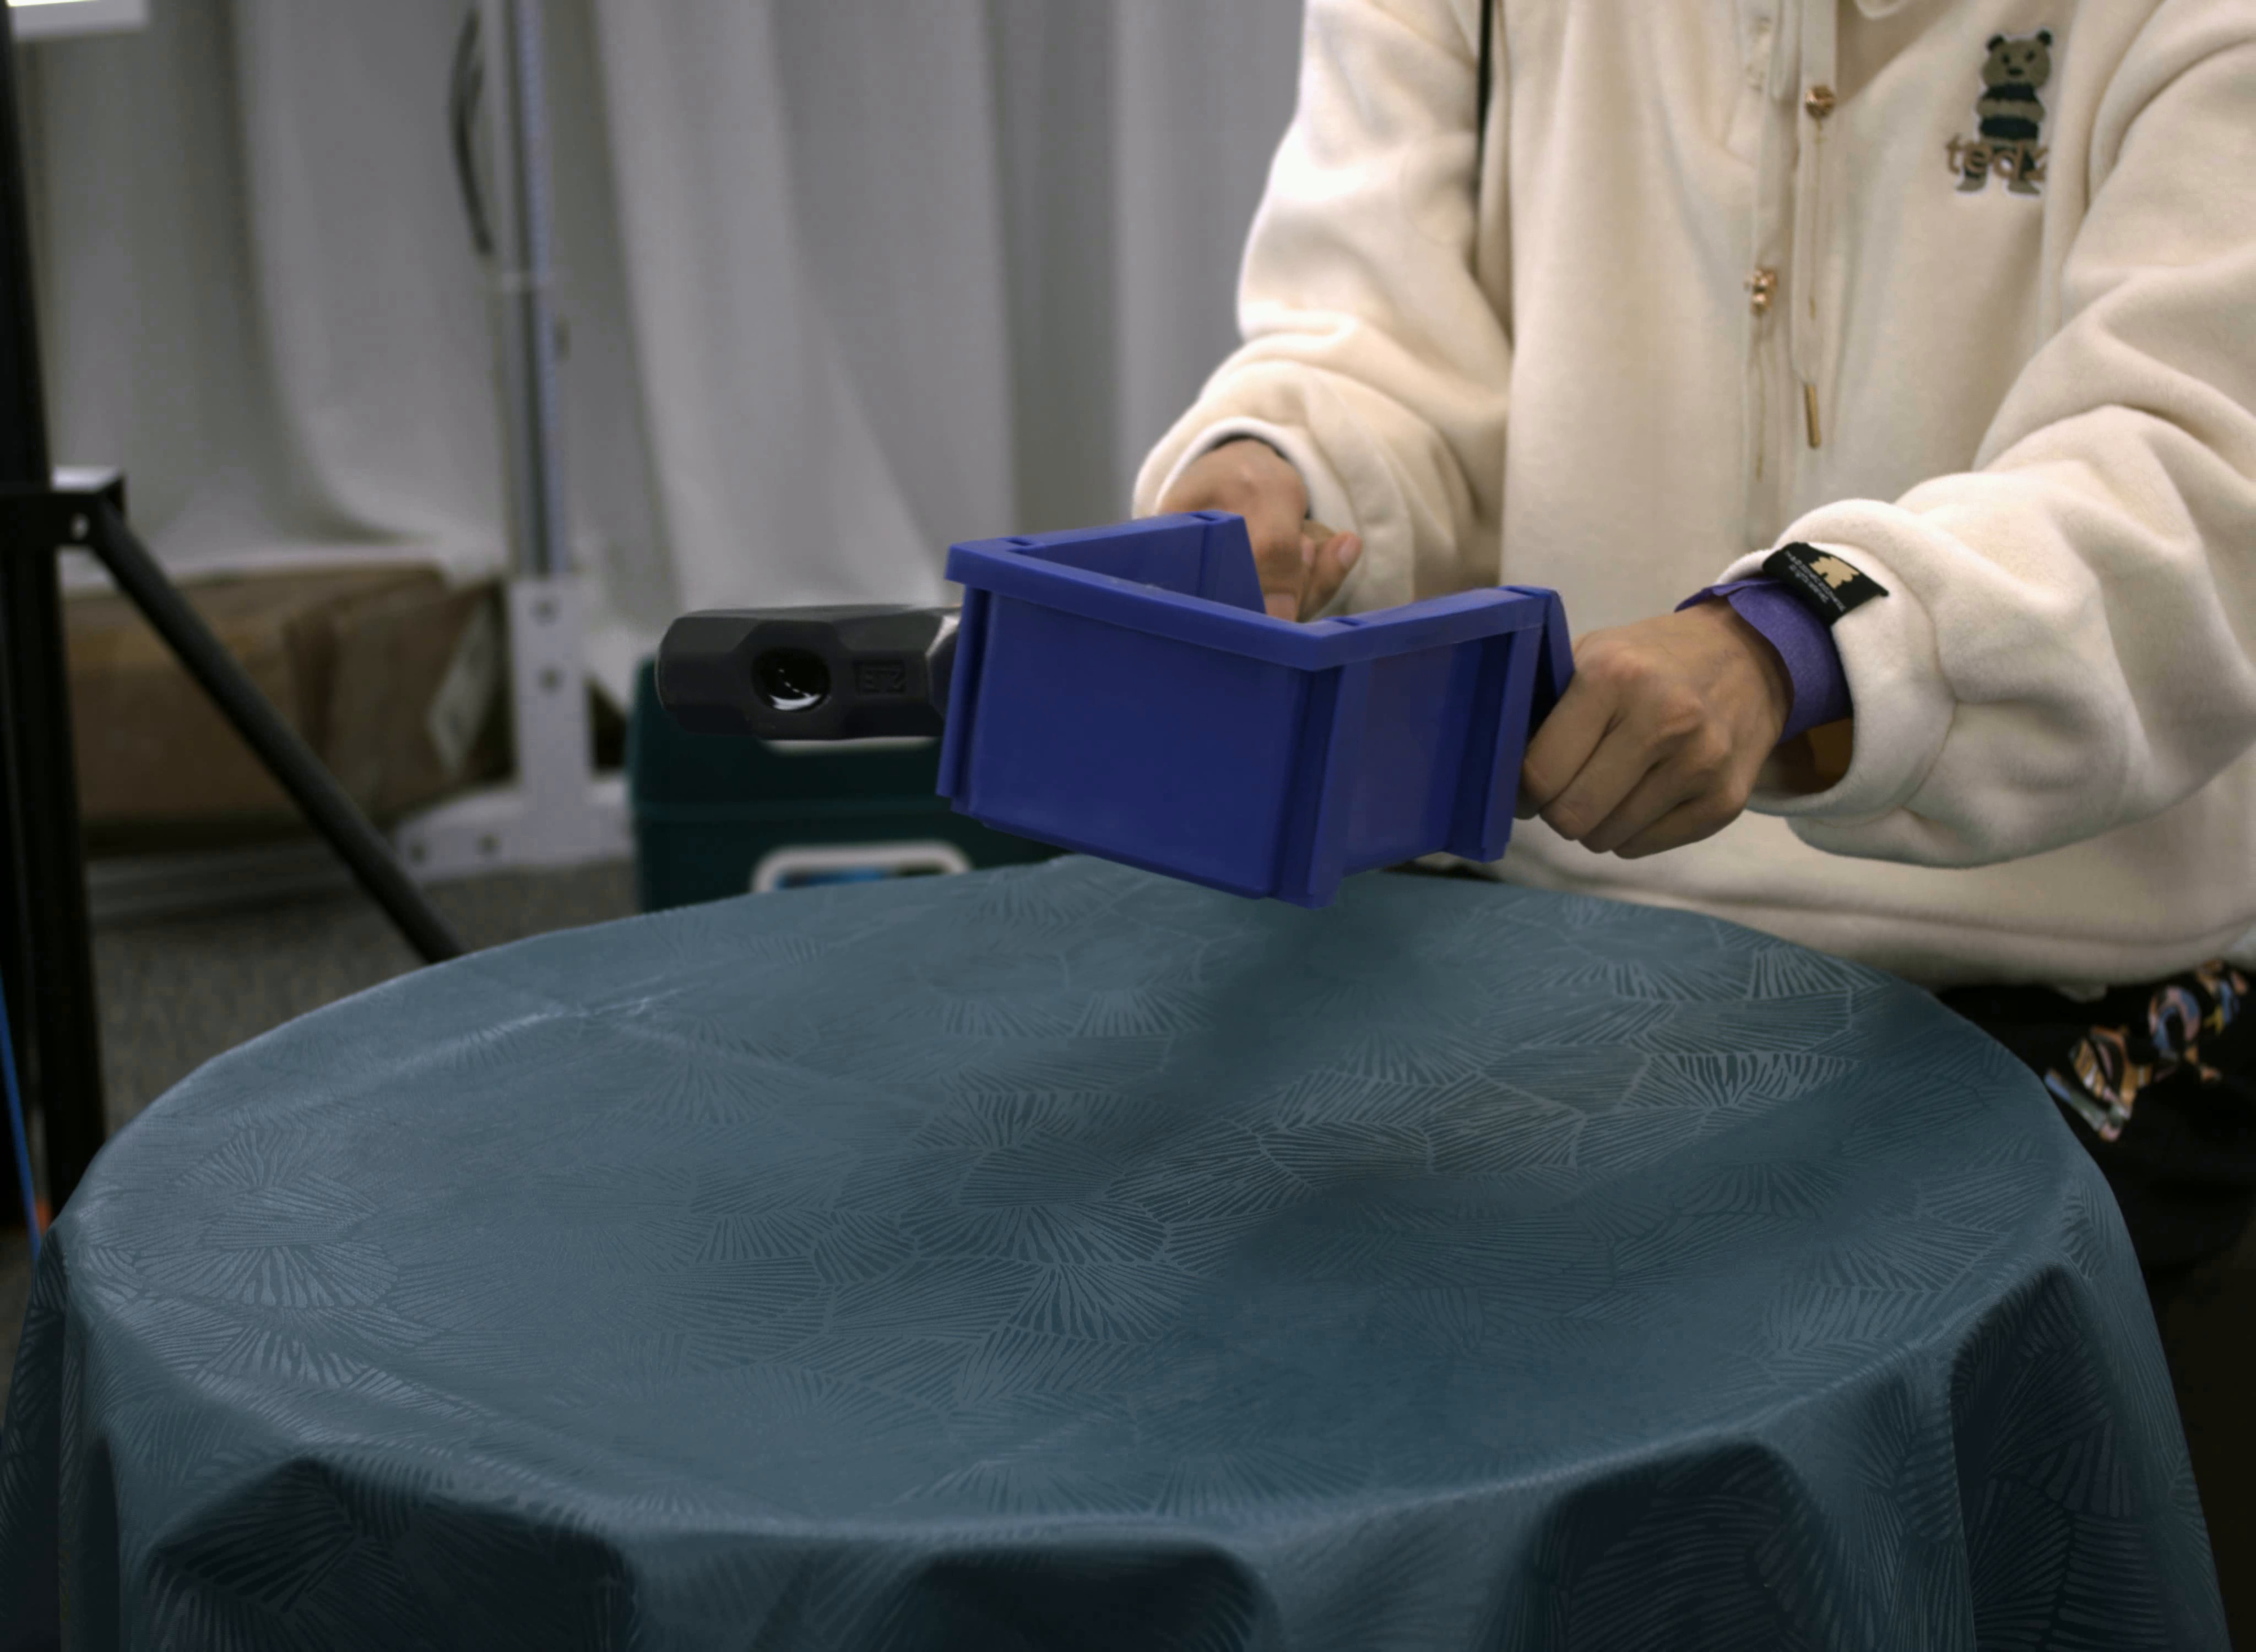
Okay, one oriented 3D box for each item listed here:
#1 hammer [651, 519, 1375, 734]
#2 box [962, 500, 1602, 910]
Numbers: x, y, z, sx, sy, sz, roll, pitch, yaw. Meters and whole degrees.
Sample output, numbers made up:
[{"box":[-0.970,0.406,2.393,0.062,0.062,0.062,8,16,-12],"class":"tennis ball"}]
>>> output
[{"box":[-0.016,-0.068,1.696,0.109,0.038,0.298,0,9,36],"class":"hammer"},{"box":[0.046,-0.039,1.539,0.127,0.082,0.175,15,17,30],"class":"box"}]
